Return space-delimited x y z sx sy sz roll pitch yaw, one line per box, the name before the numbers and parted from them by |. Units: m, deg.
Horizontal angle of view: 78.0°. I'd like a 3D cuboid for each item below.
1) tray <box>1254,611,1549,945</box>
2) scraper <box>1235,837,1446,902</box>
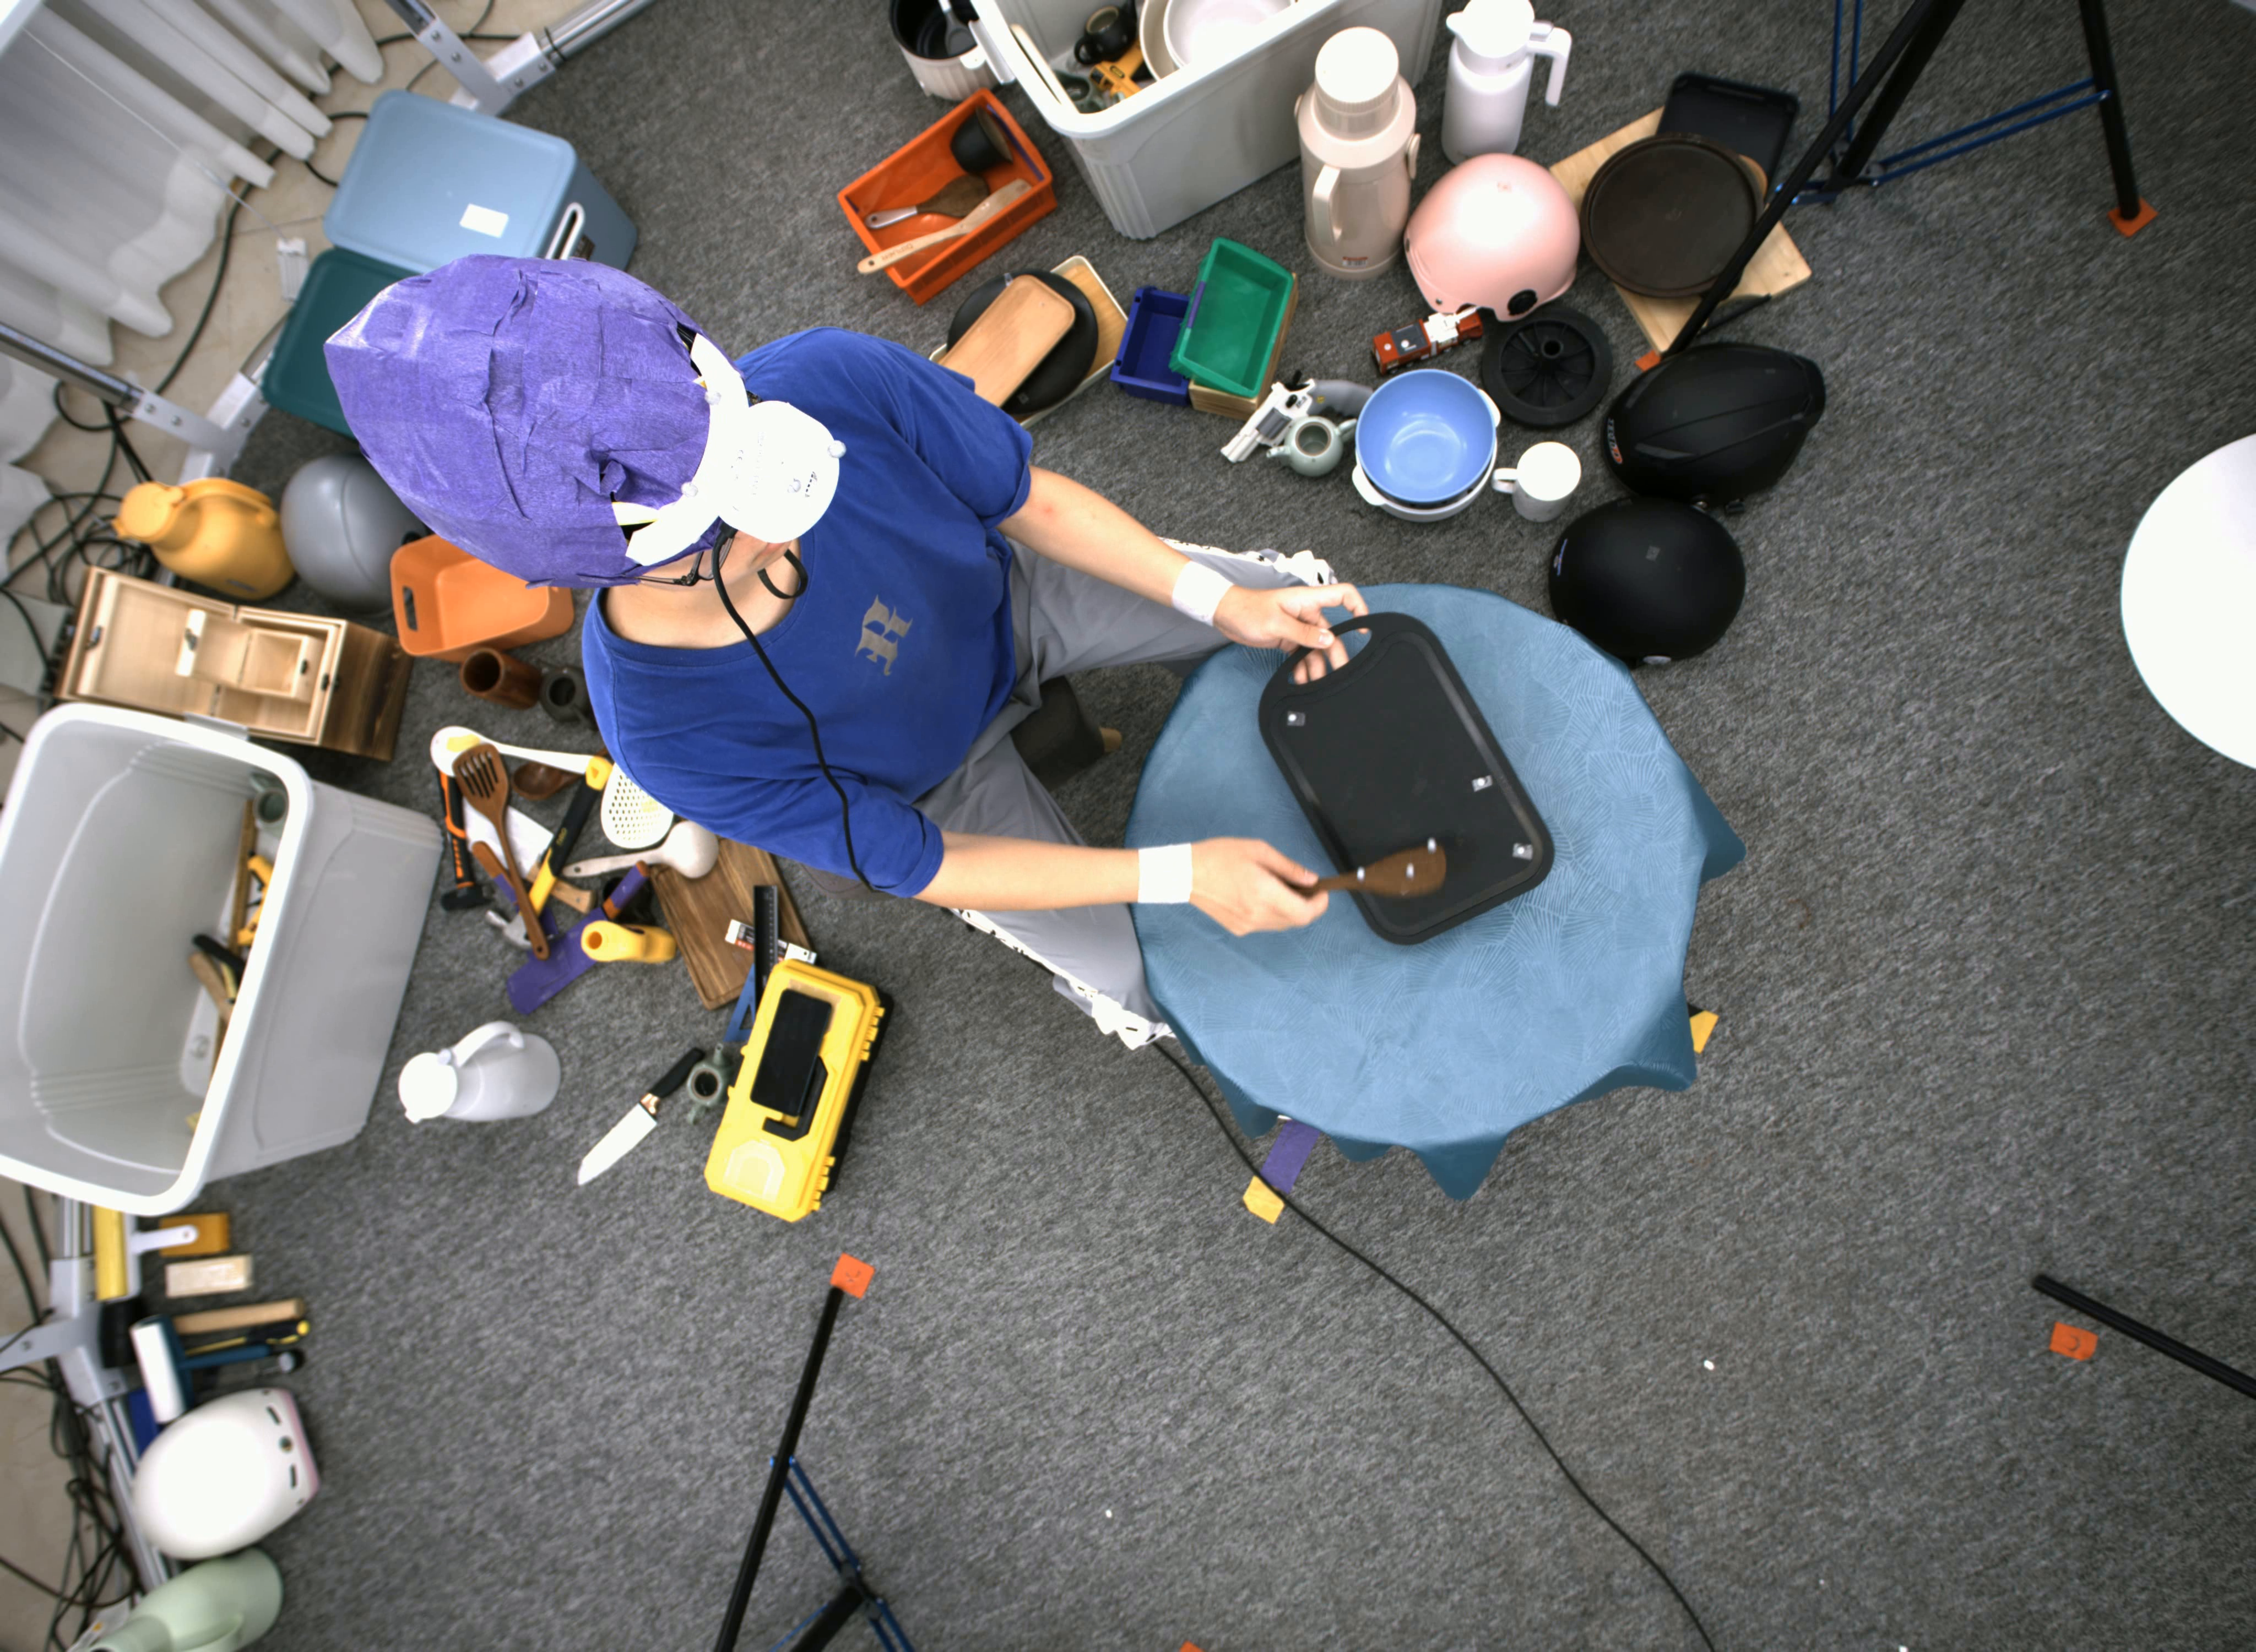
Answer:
tray | 0.264 -0.051 1.375 0.214 0.009 0.325 -29 91 29
scraper | 0.206 0.048 1.350 0.213 0.074 0.011 -12 116 18
